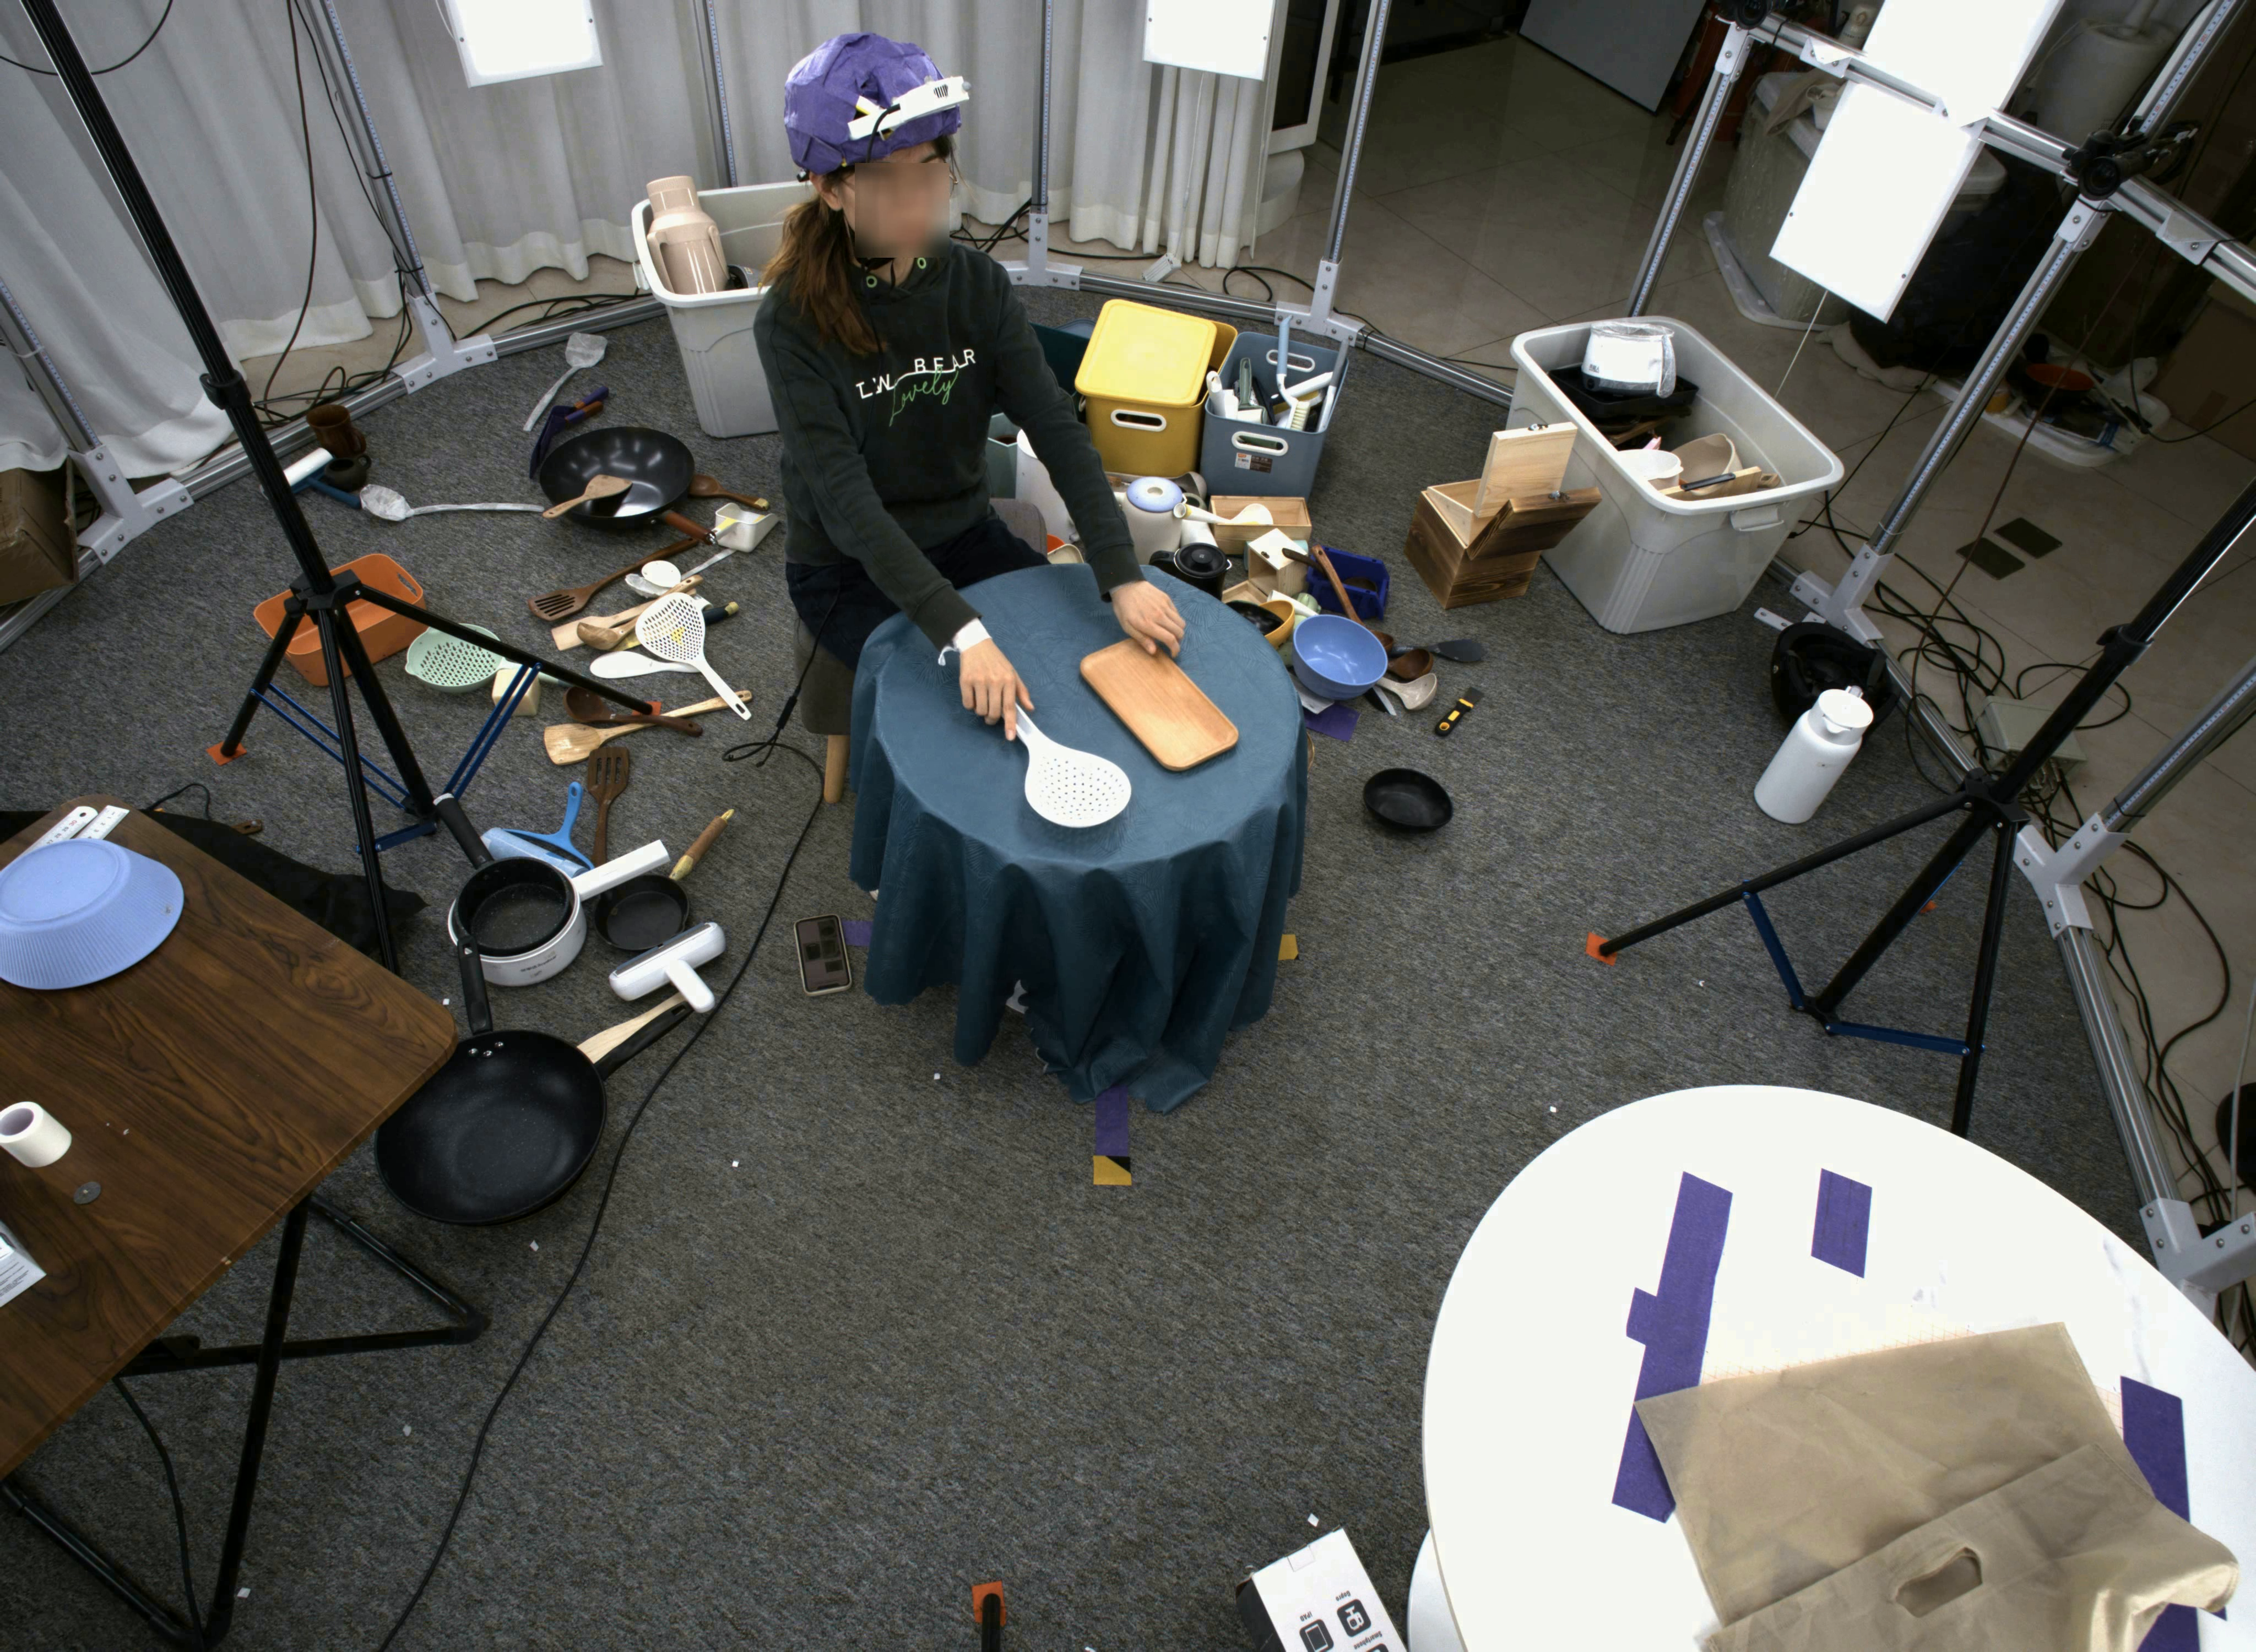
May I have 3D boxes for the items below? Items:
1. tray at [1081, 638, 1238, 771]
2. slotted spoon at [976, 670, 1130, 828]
[{"bbox_3d":[0.042,-0.176,1.829,0.131,0.022,0.256,-23,53,-24],"label":"tray"},{"bbox_3d":[-0.121,-0.110,1.742,0.136,0.044,0.357,-20,52,-23],"label":"slotted spoon"}]
